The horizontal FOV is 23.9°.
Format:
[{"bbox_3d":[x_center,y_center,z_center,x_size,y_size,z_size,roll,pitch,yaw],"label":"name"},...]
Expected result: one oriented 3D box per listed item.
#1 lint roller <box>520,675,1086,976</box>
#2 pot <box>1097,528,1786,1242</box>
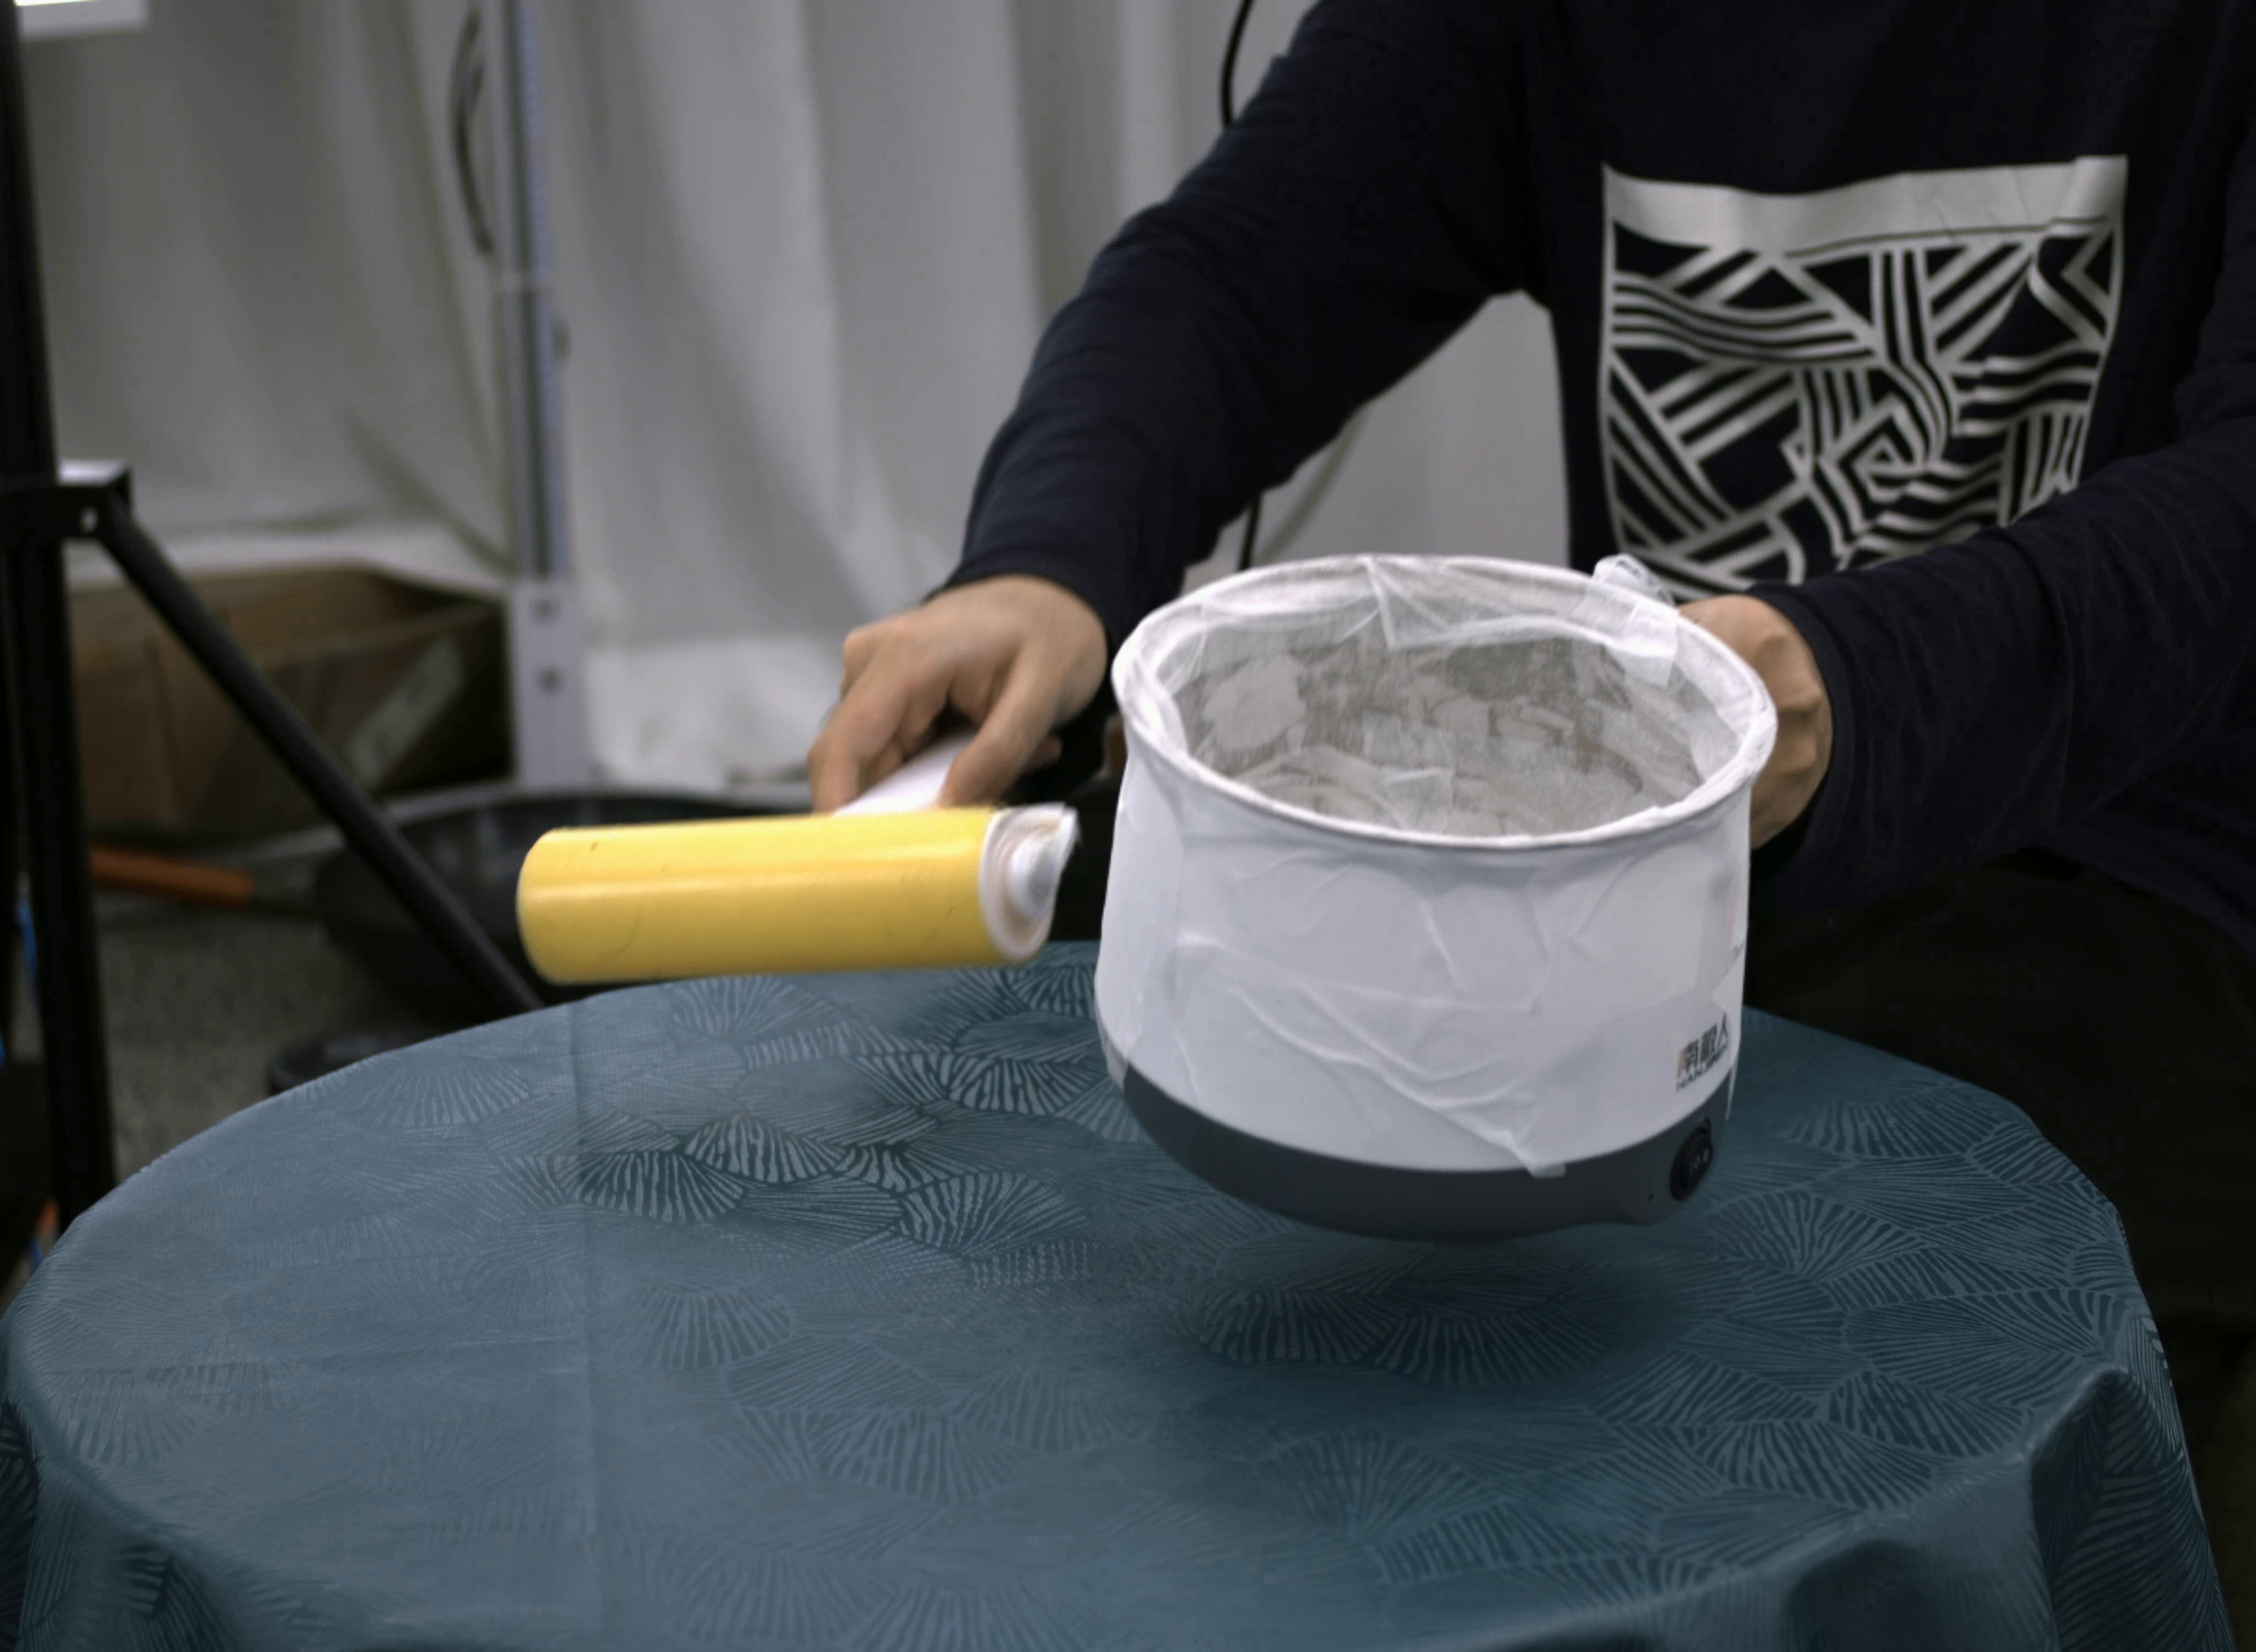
[{"bbox_3d":[-0.077,-0.015,1.653,0.177,0.051,0.190,-4,28,27],"label":"lint roller"},{"bbox_3d":[0.096,0.006,1.454,0.182,0.136,0.230,20,33,27],"label":"pot"}]
